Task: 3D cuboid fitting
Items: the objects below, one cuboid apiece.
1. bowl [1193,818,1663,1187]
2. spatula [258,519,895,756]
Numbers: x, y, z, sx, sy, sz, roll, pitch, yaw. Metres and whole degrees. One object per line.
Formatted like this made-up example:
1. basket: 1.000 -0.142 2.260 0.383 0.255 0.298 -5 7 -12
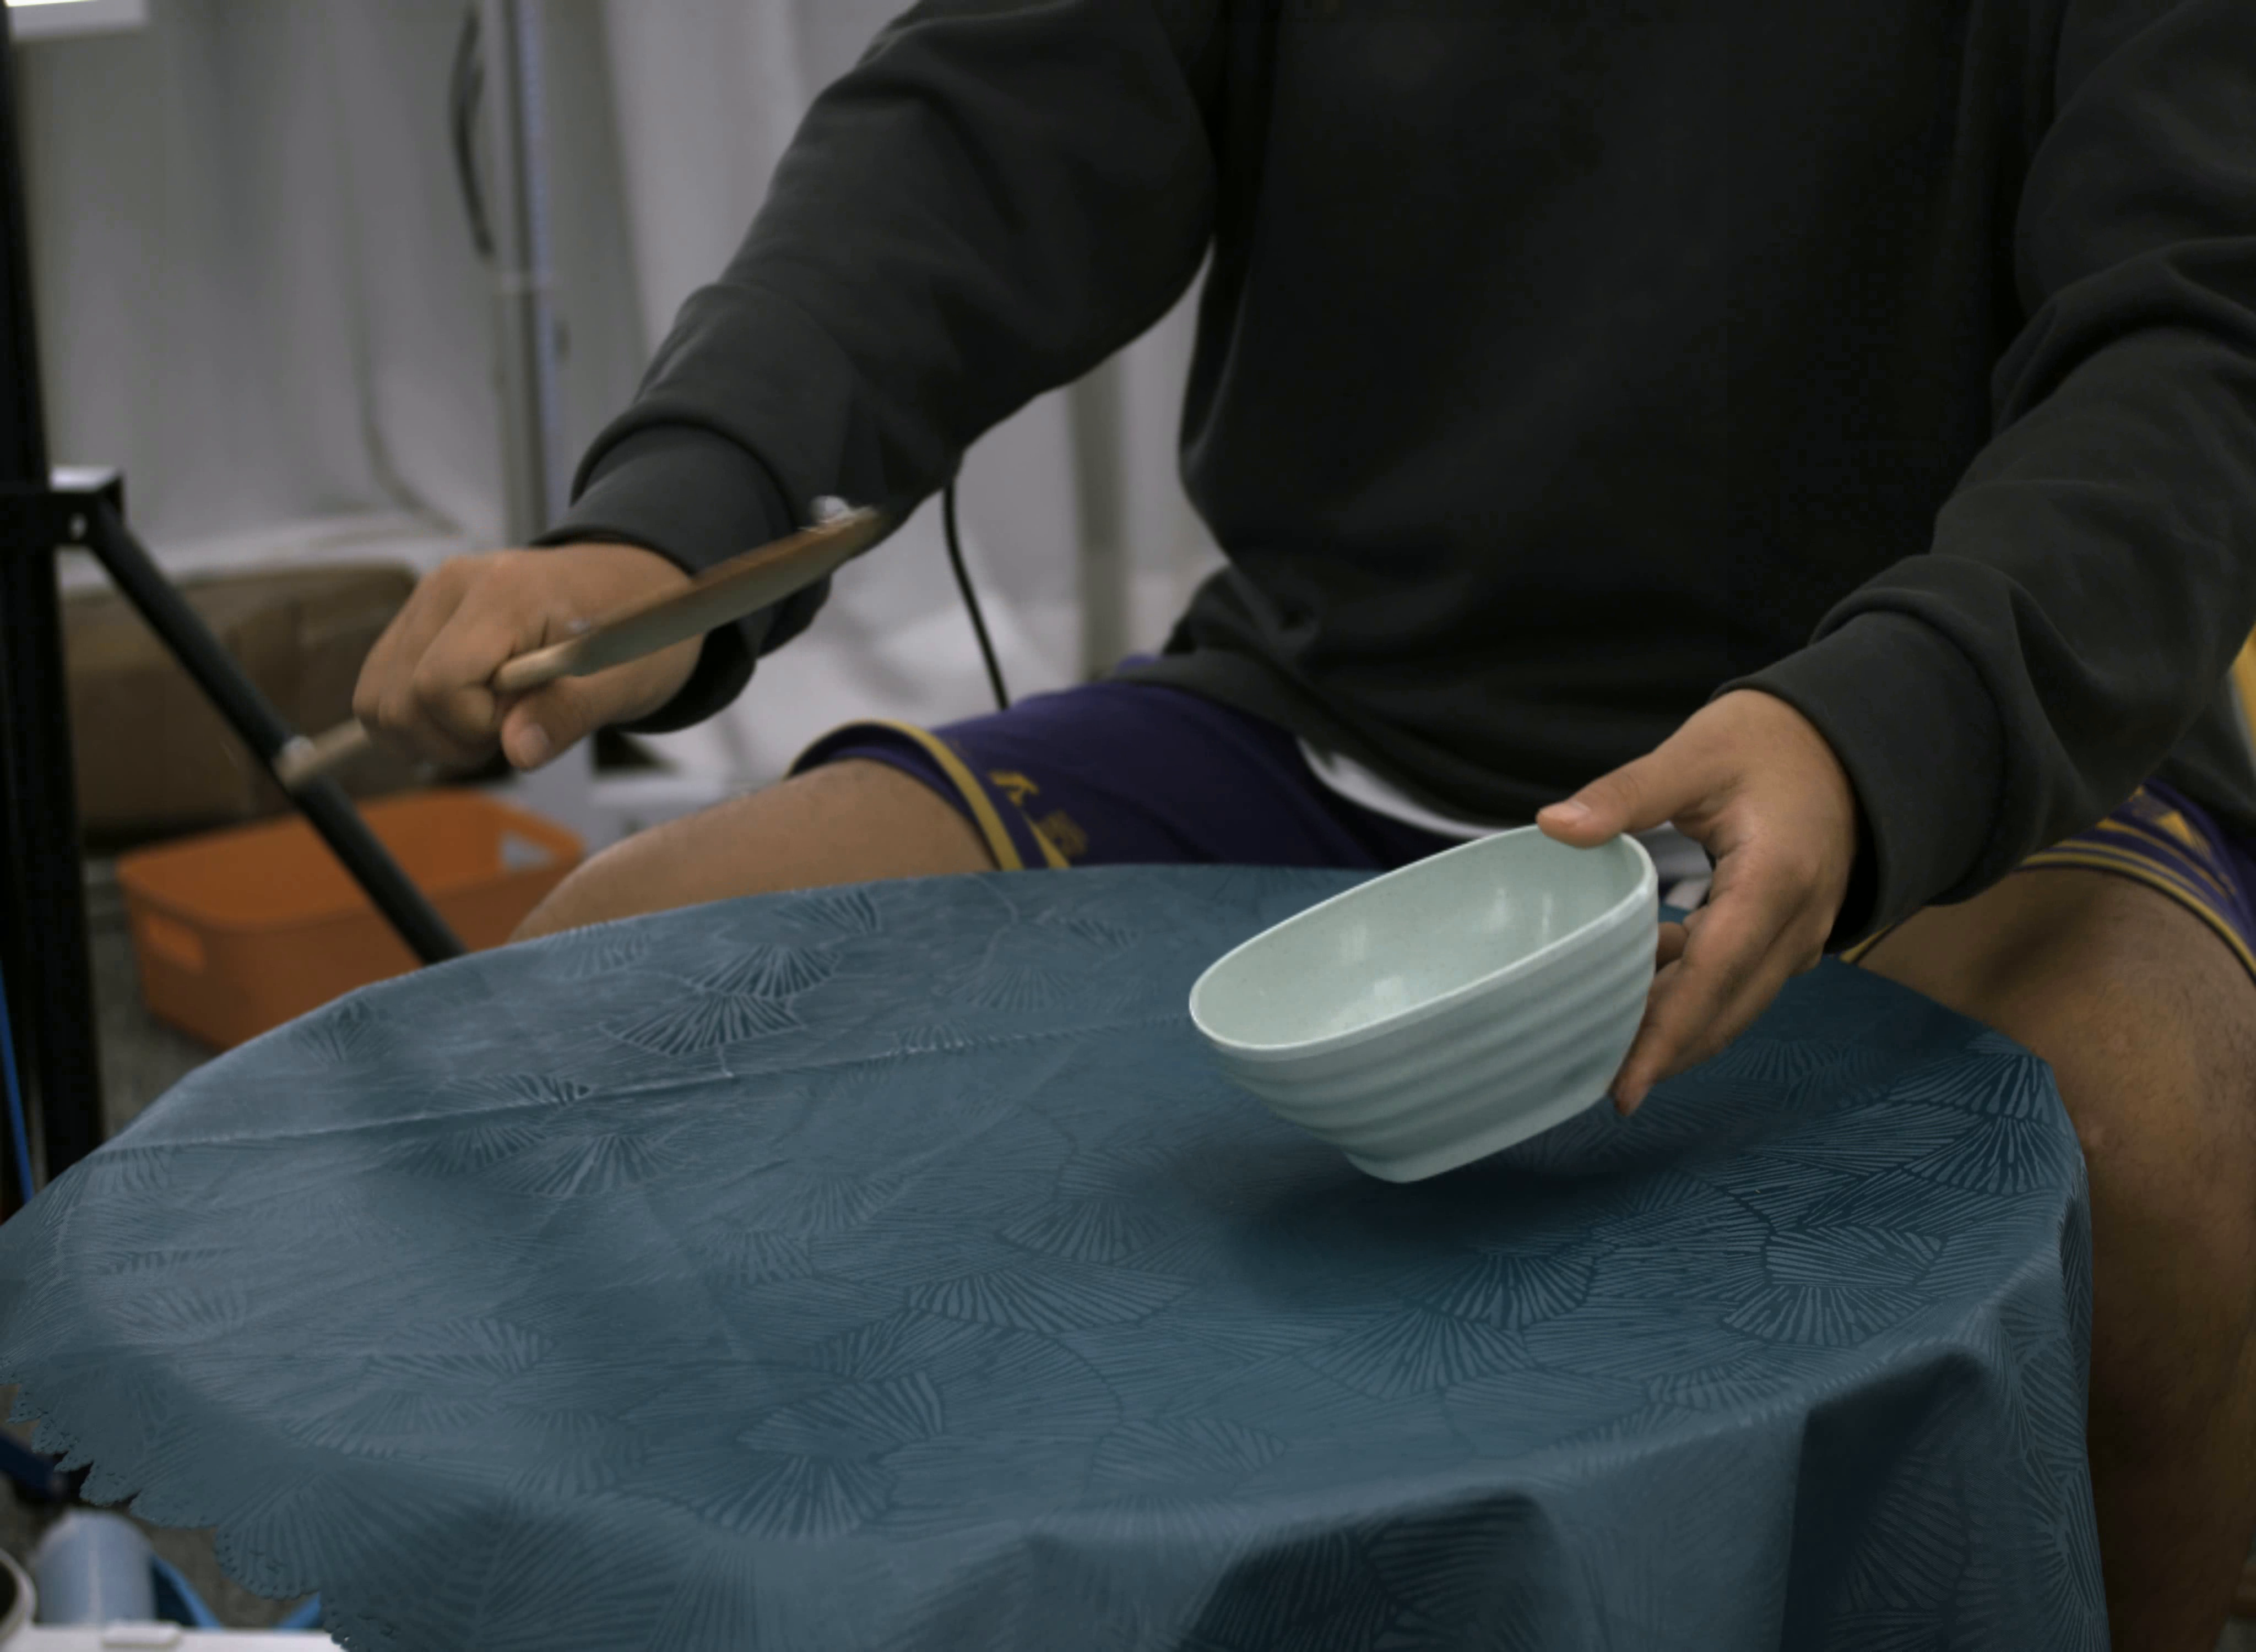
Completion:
1. bowl: 0.094 0.056 1.534 0.151 0.058 0.152 -22 15 4
2. spatula: -0.191 -0.049 1.642 0.094 0.018 0.398 -23 7 -31
